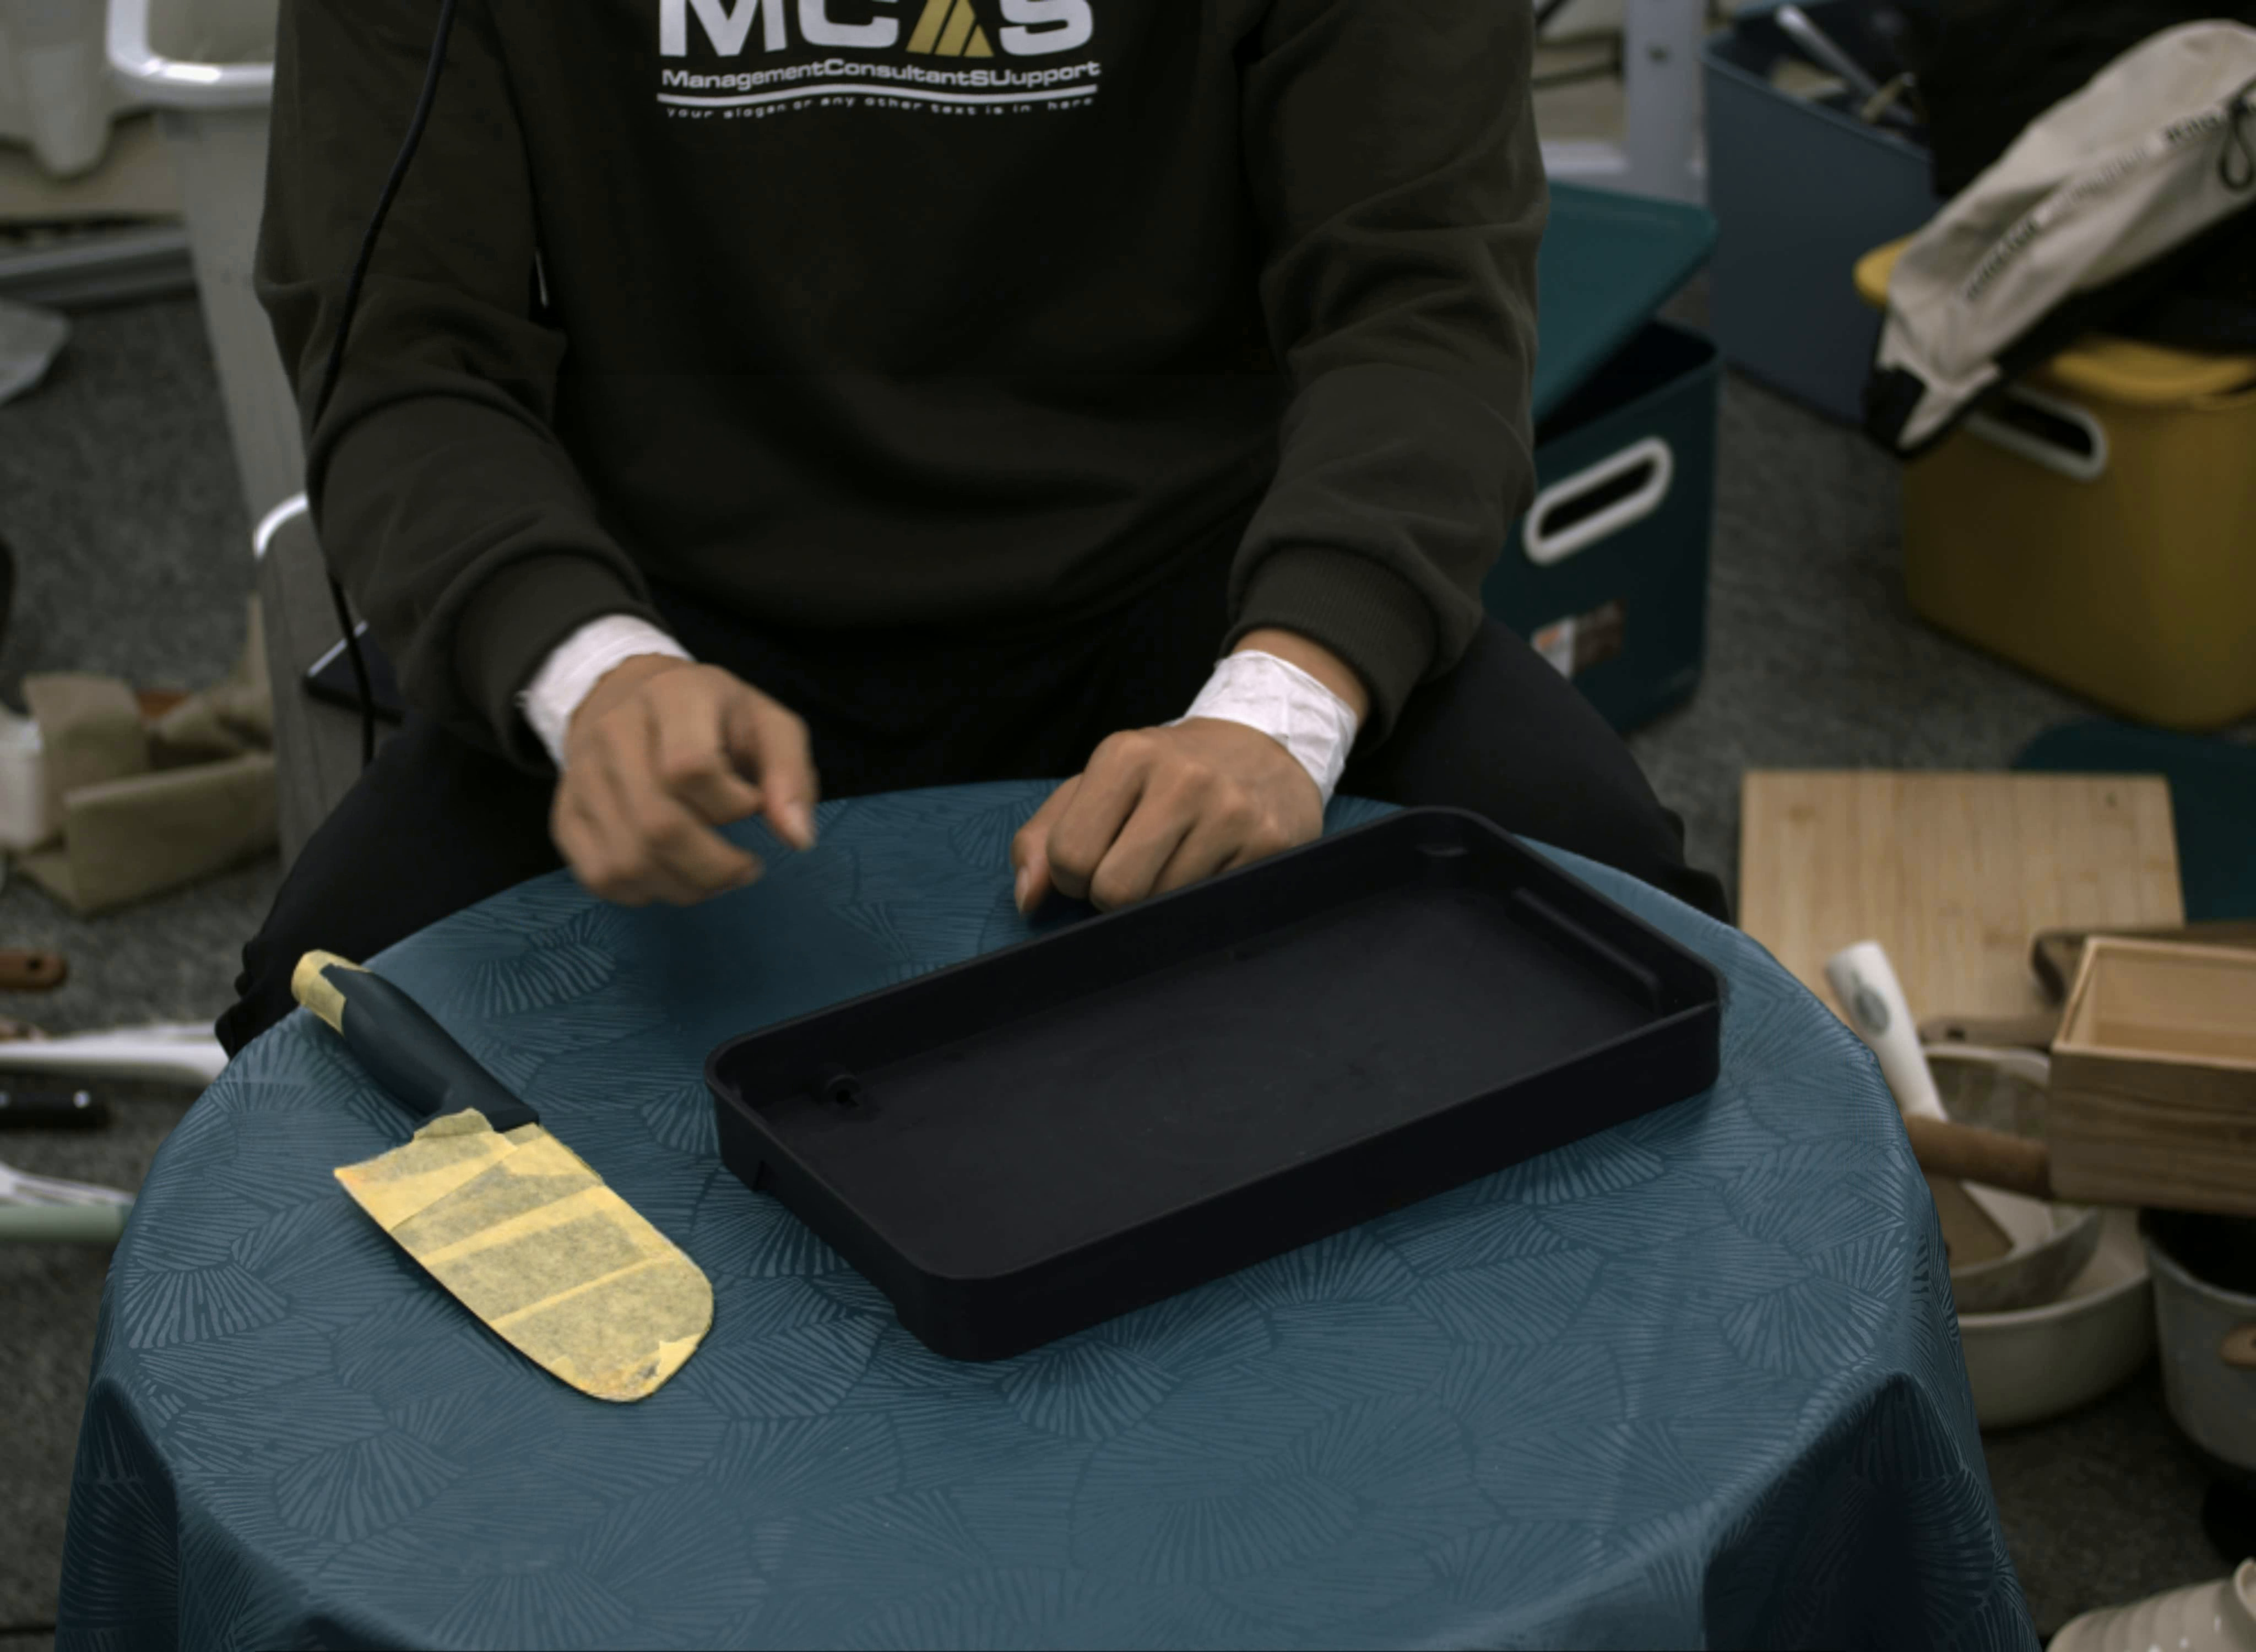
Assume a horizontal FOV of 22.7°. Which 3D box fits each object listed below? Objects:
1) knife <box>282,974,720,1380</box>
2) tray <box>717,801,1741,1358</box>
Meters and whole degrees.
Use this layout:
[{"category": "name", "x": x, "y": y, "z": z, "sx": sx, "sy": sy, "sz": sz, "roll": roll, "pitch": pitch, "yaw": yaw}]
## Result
[{"category": "knife", "x": -0.222, "y": 0.118, "z": 1.873, "sx": 0.081, "sy": 0.027, "sz": 0.290, "roll": -15, "pitch": 31, "yaw": -29}, {"category": "tray", "x": 0.036, "y": 0.080, "z": 1.900, "sx": 0.320, "sy": 0.036, "sz": 0.185, "roll": -19, "pitch": 31, "yaw": -29}]
